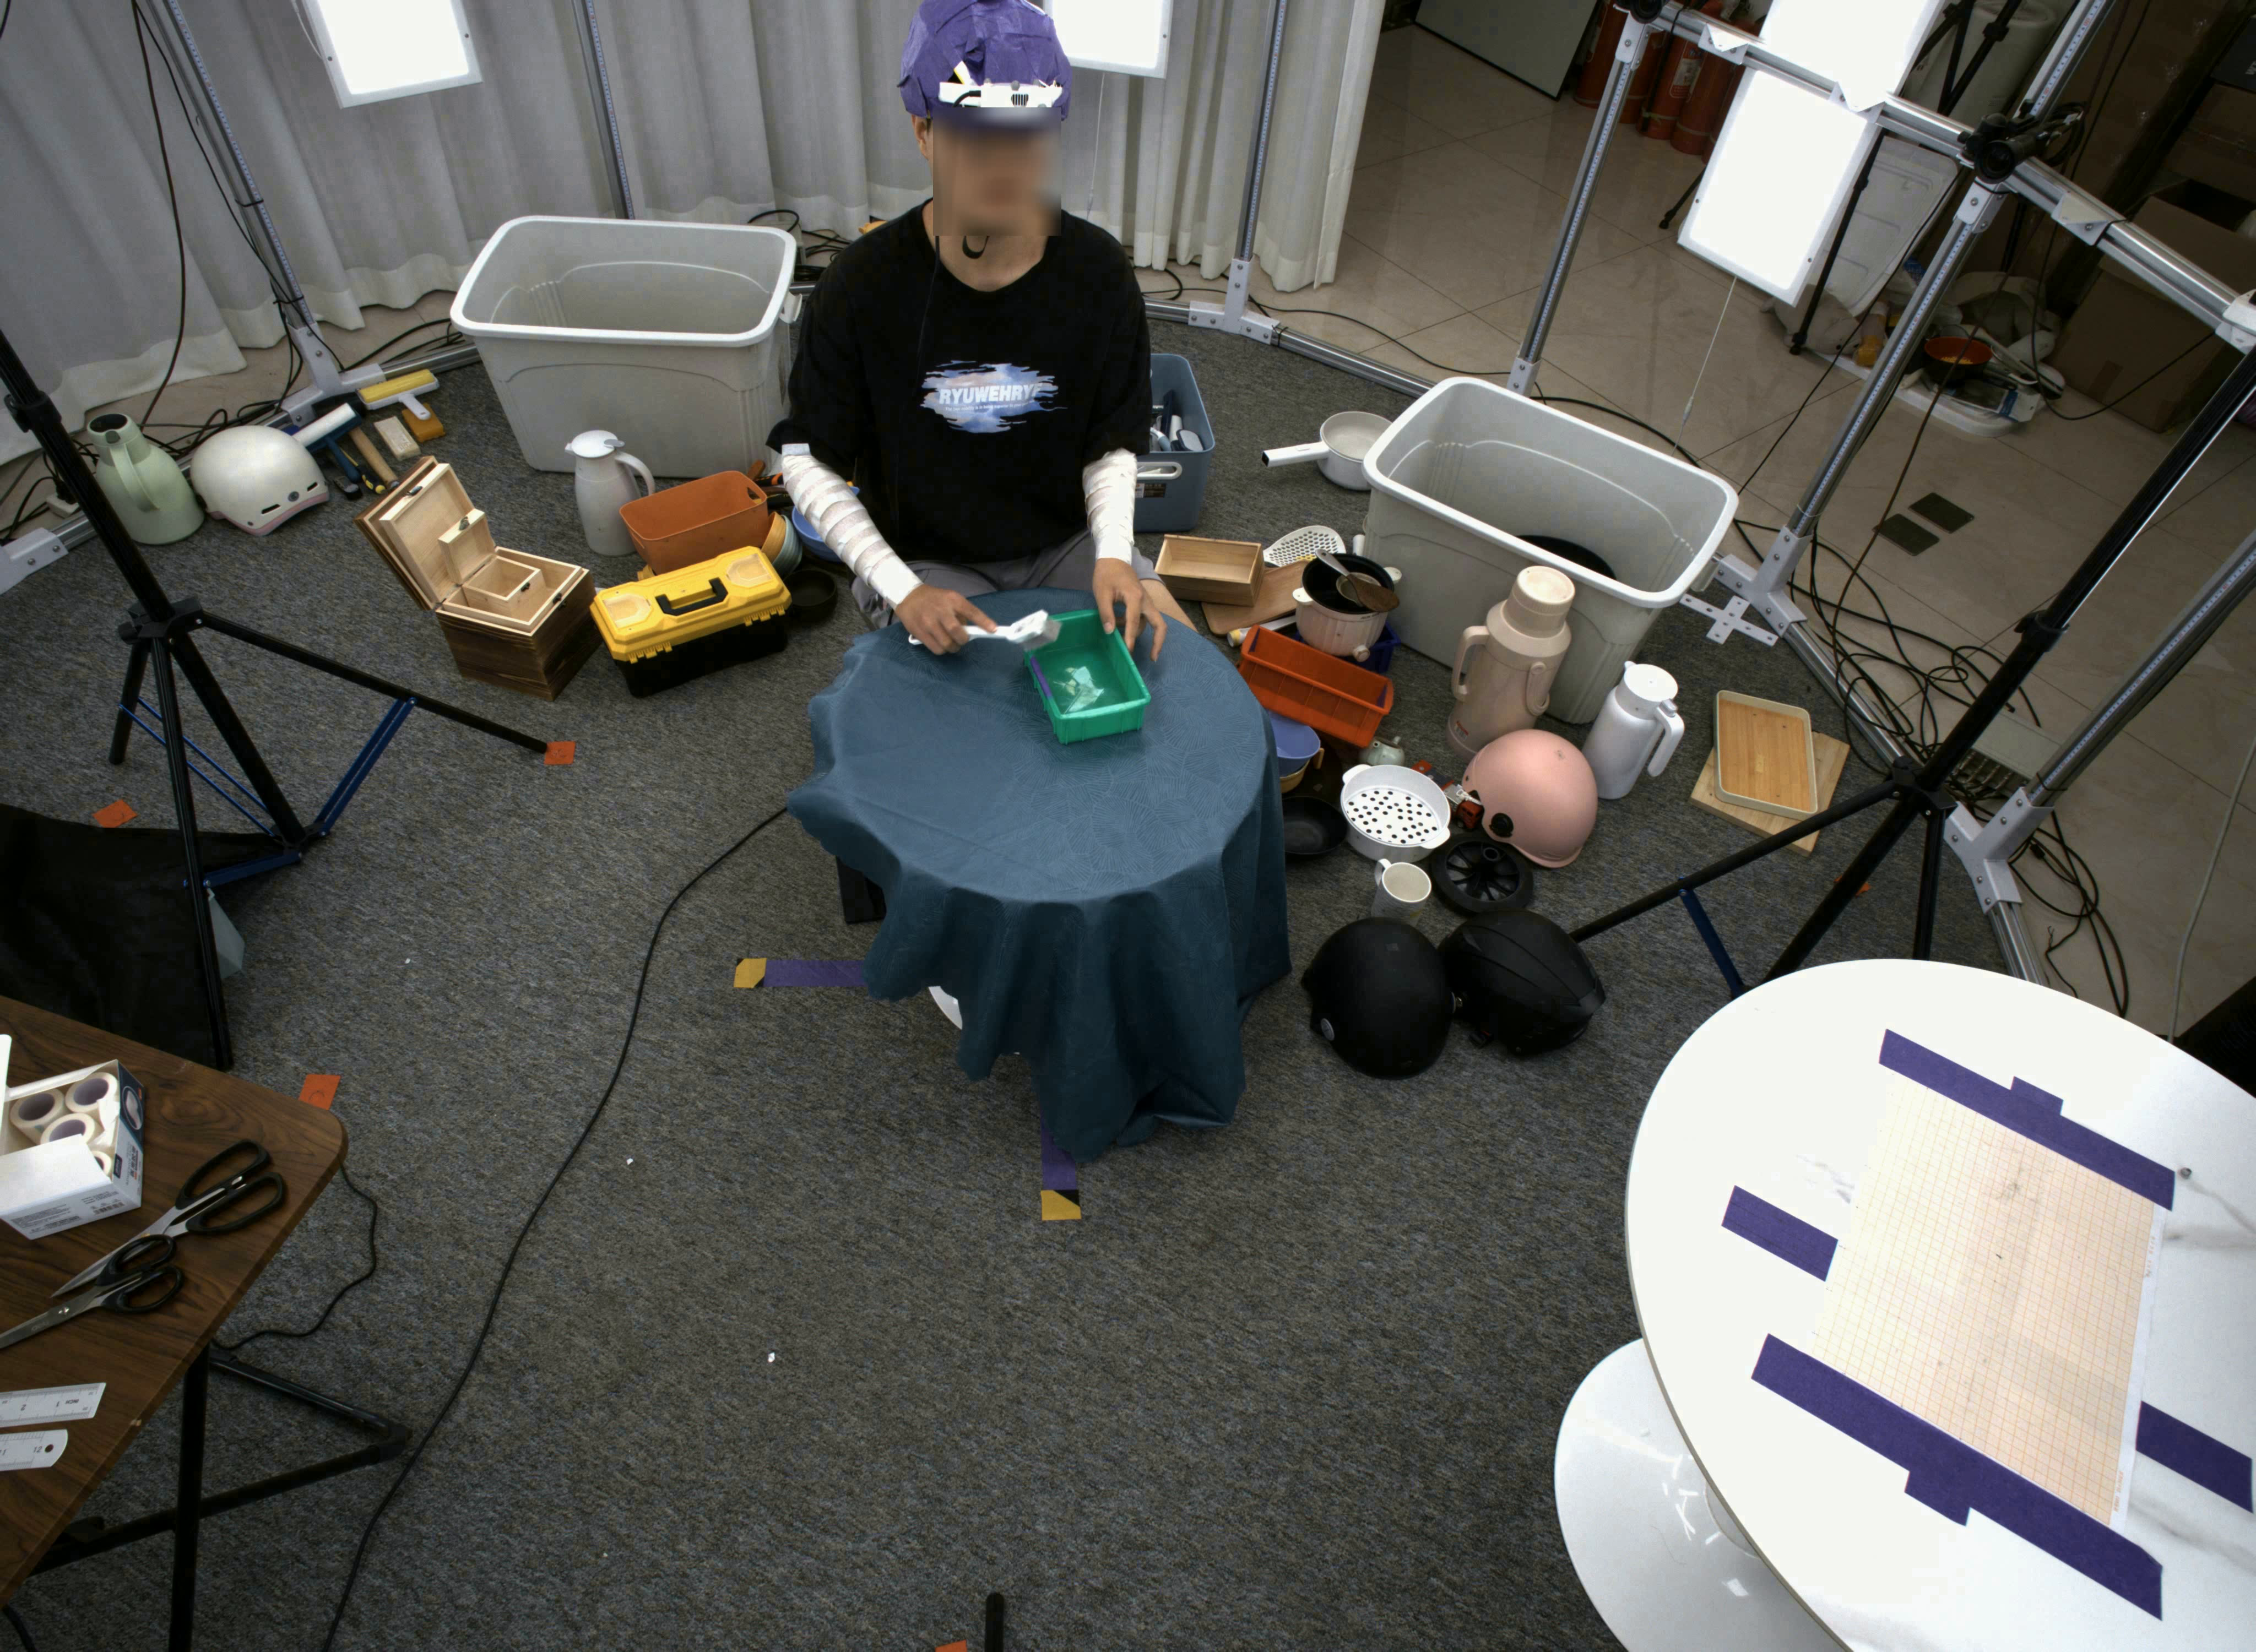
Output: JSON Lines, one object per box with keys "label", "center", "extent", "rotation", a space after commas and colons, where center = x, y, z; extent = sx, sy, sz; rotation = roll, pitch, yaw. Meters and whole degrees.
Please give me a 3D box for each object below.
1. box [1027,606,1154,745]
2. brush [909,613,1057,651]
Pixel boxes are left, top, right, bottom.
{"label": "box", "center": [-0.059, -0.211, 1.809], "extent": [0.139, 0.064, 0.215], "rotation": [-16, 54, -12]}
{"label": "brush", "center": [-0.205, -0.266, 1.820], "extent": [0.244, 0.049, 0.035], "rotation": [-2, 65, 33]}
